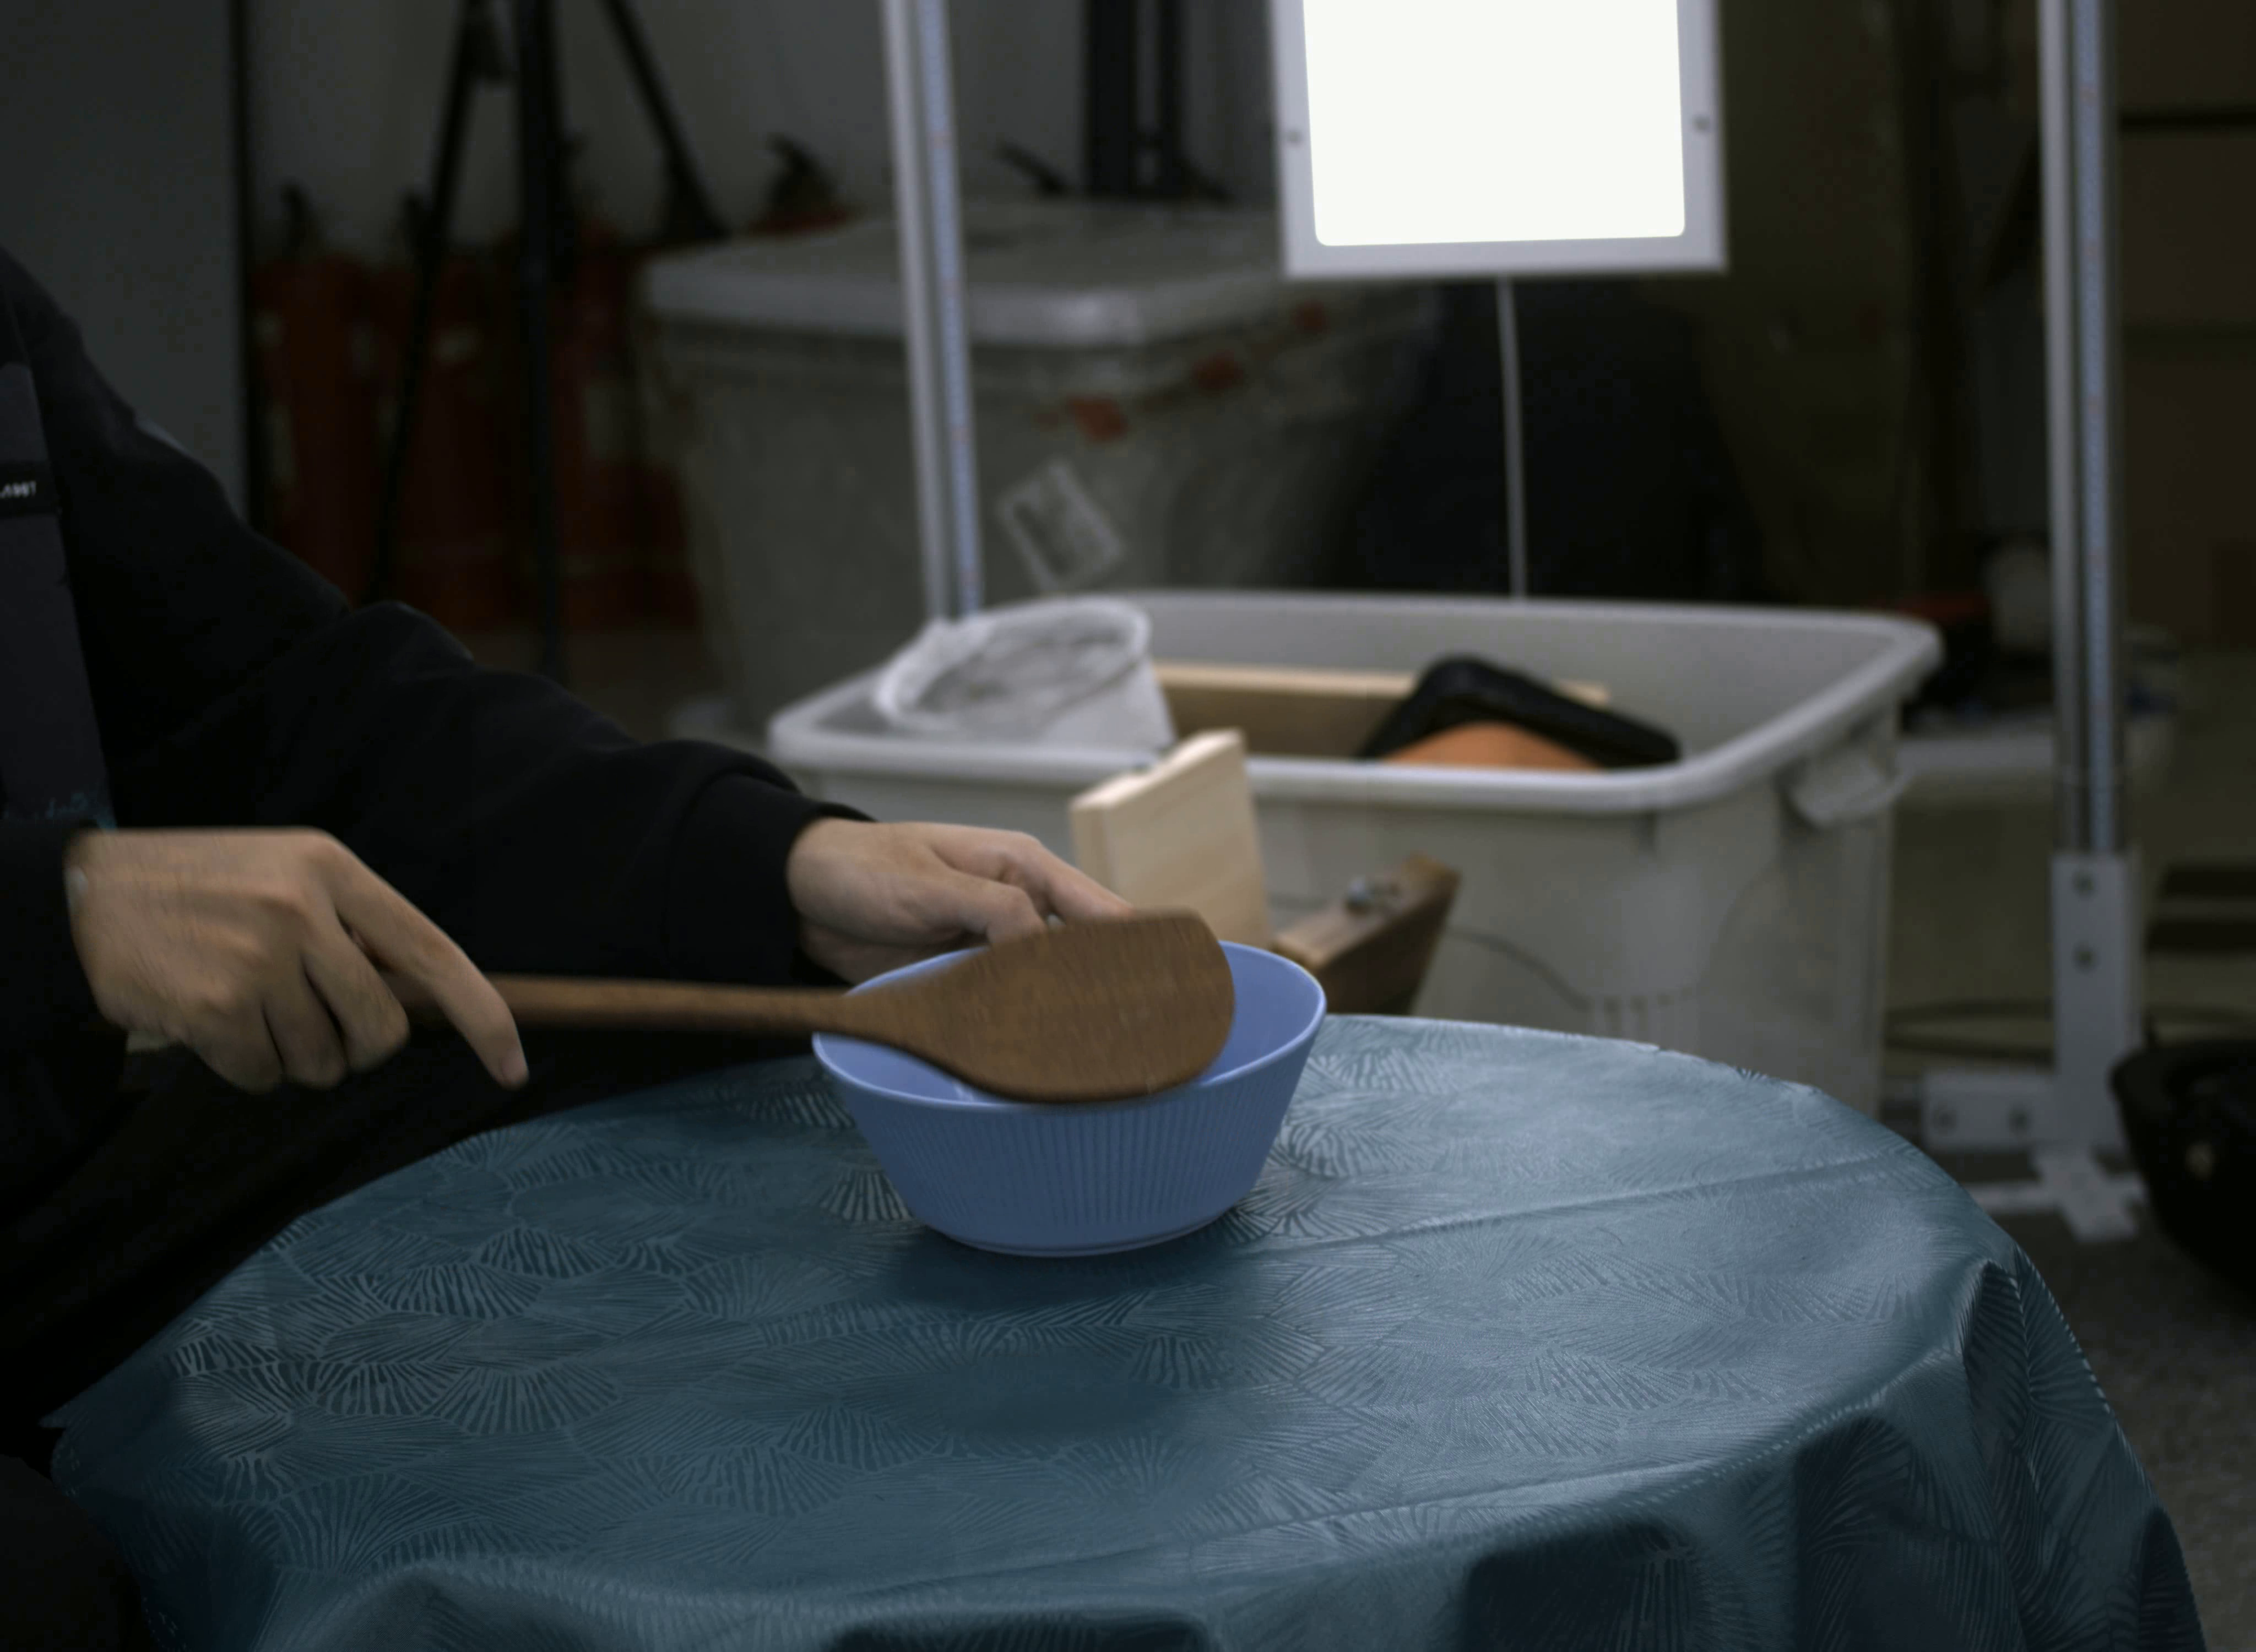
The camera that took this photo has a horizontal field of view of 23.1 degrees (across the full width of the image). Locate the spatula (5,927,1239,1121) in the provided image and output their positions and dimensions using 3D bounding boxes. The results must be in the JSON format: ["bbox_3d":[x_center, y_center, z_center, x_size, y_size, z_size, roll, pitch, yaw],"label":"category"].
[{"bbox_3d":[-0.158,0.059,1.714,0.386,0.016,0.095,1,35,4],"label":"spatula"}]

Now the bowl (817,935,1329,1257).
[{"bbox_3d":[-0.016,0.095,1.874,0.176,0.070,0.176,-6,16,0],"label":"bowl"}]
